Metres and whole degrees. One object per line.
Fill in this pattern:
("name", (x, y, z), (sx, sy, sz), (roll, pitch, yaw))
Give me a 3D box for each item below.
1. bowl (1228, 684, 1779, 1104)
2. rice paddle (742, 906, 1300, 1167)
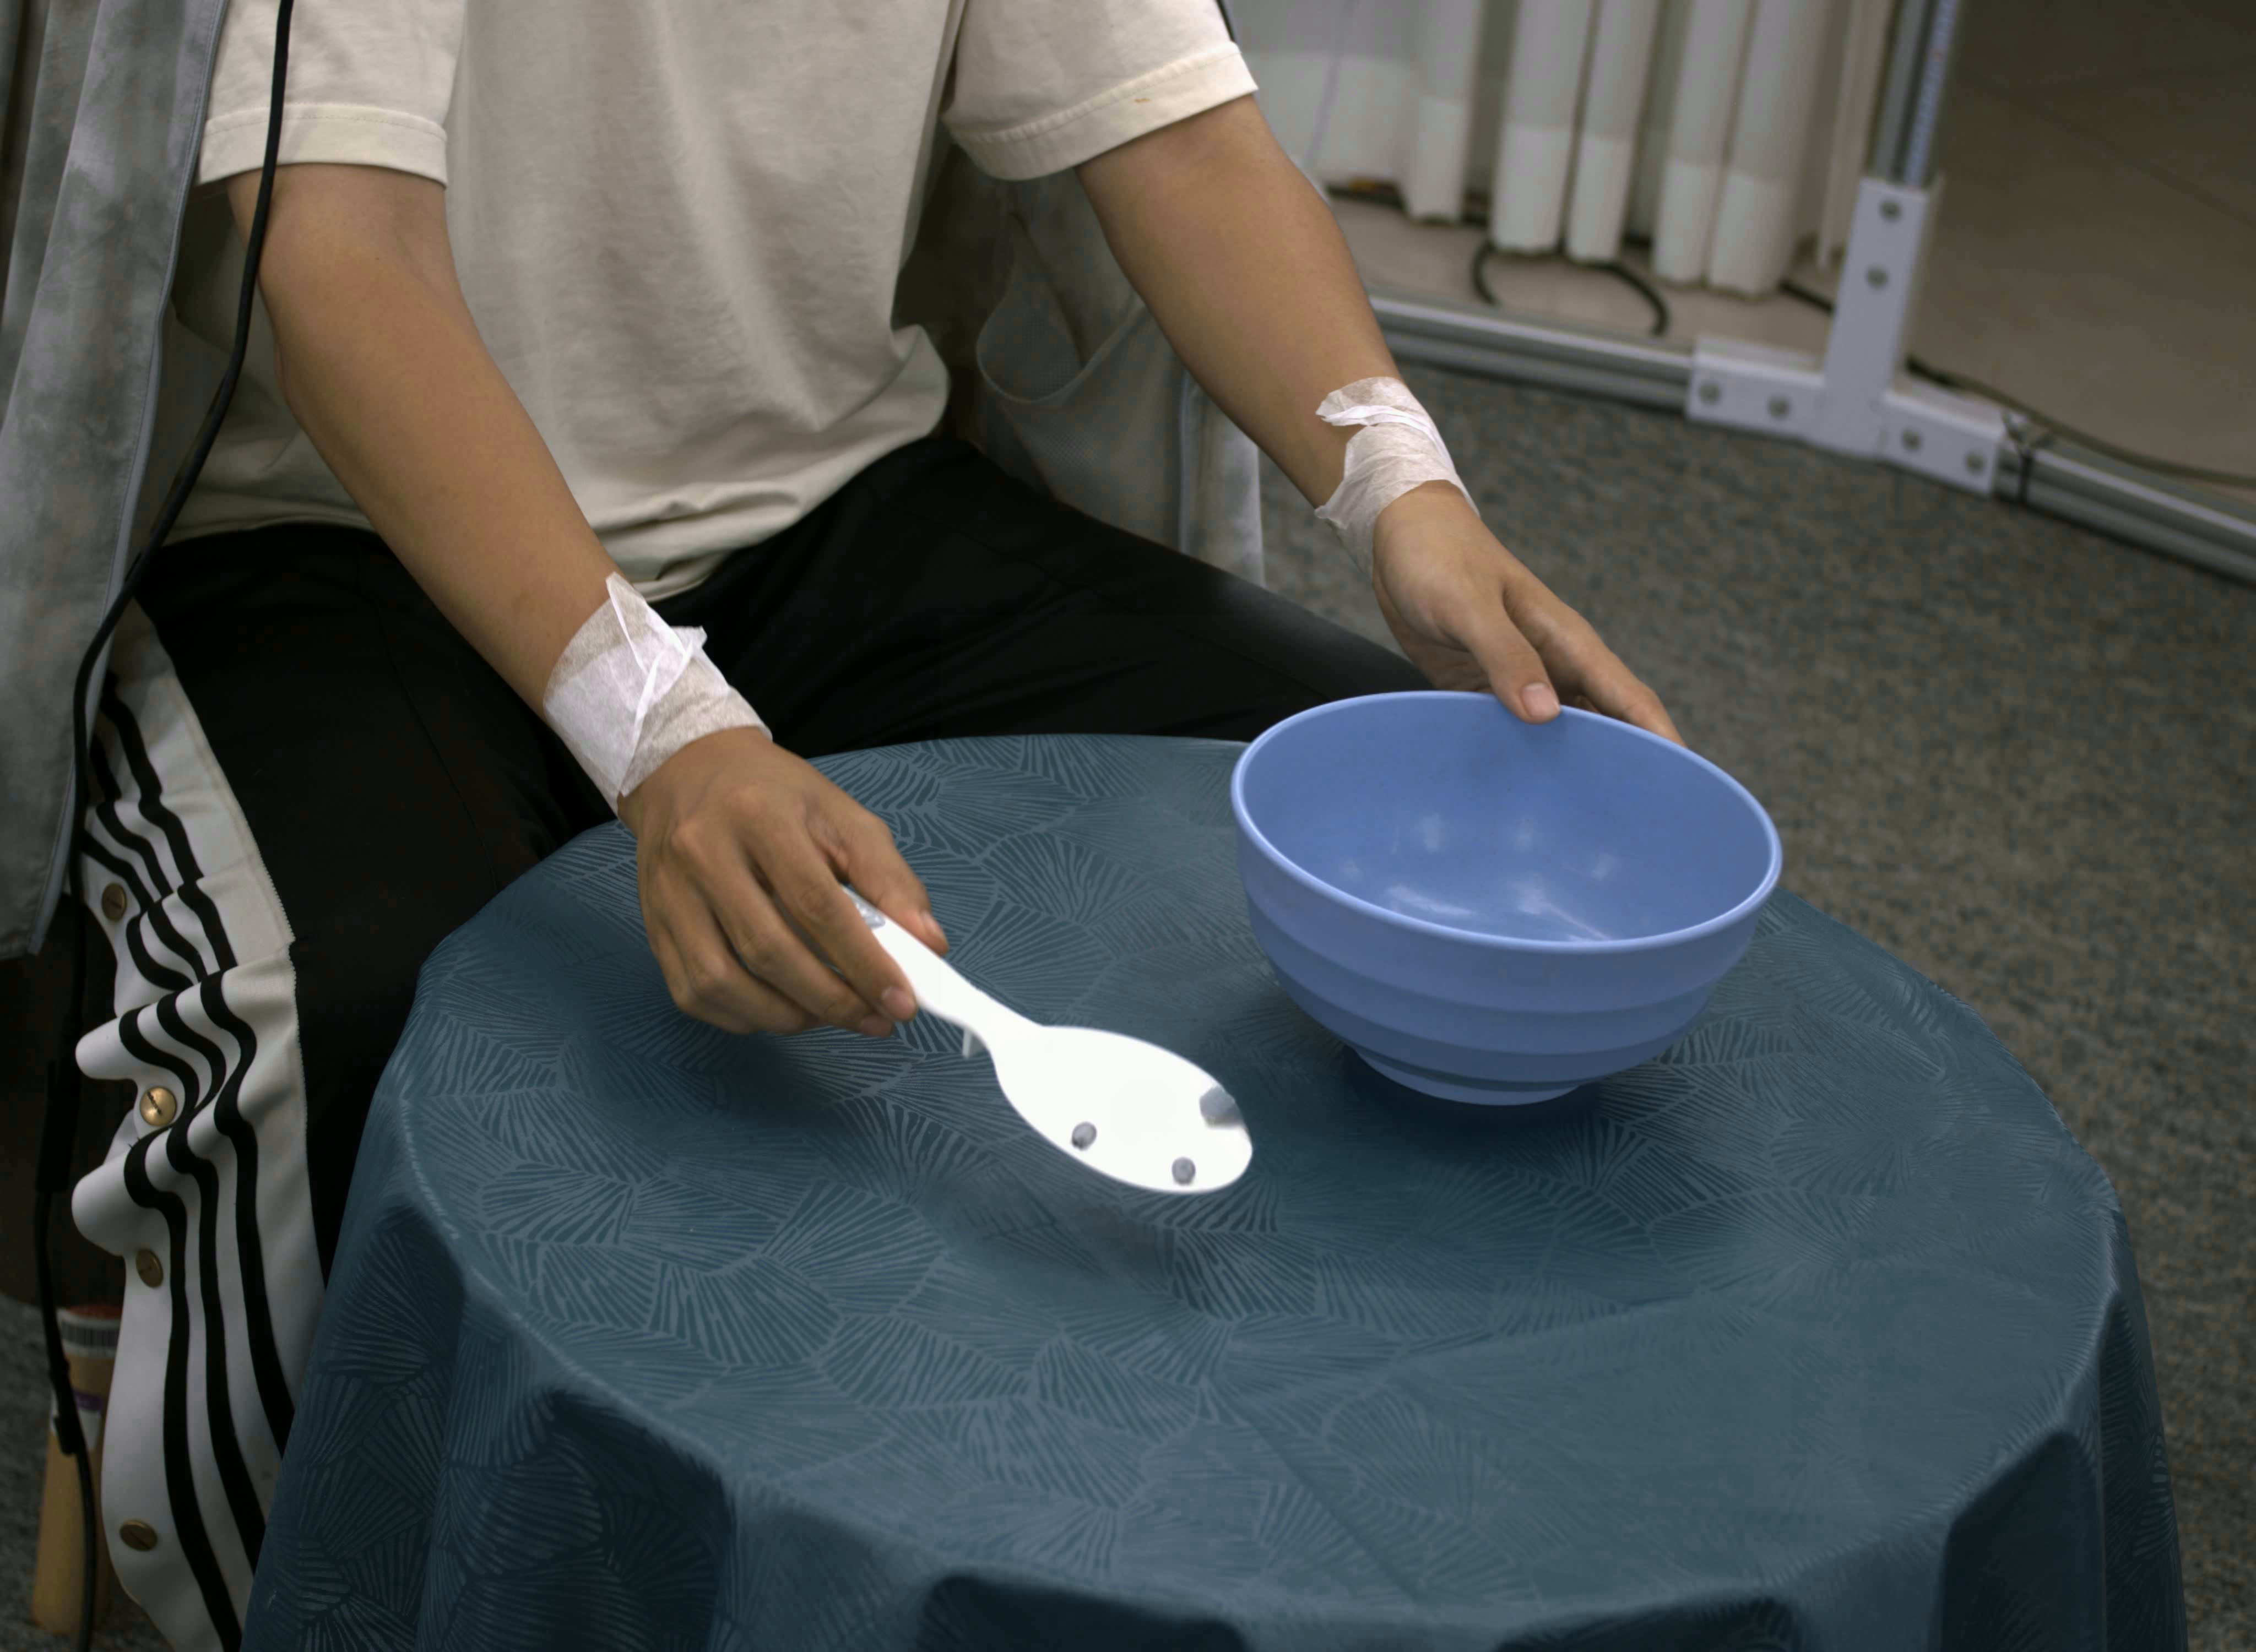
("bowl", (0.128, 0.035, 1.900), (0.196, 0.095, 0.198), (5, 29, -3))
("rice paddle", (-0.035, 0.074, 1.791), (0.206, 0.029, 0.068), (20, 23, 21))
